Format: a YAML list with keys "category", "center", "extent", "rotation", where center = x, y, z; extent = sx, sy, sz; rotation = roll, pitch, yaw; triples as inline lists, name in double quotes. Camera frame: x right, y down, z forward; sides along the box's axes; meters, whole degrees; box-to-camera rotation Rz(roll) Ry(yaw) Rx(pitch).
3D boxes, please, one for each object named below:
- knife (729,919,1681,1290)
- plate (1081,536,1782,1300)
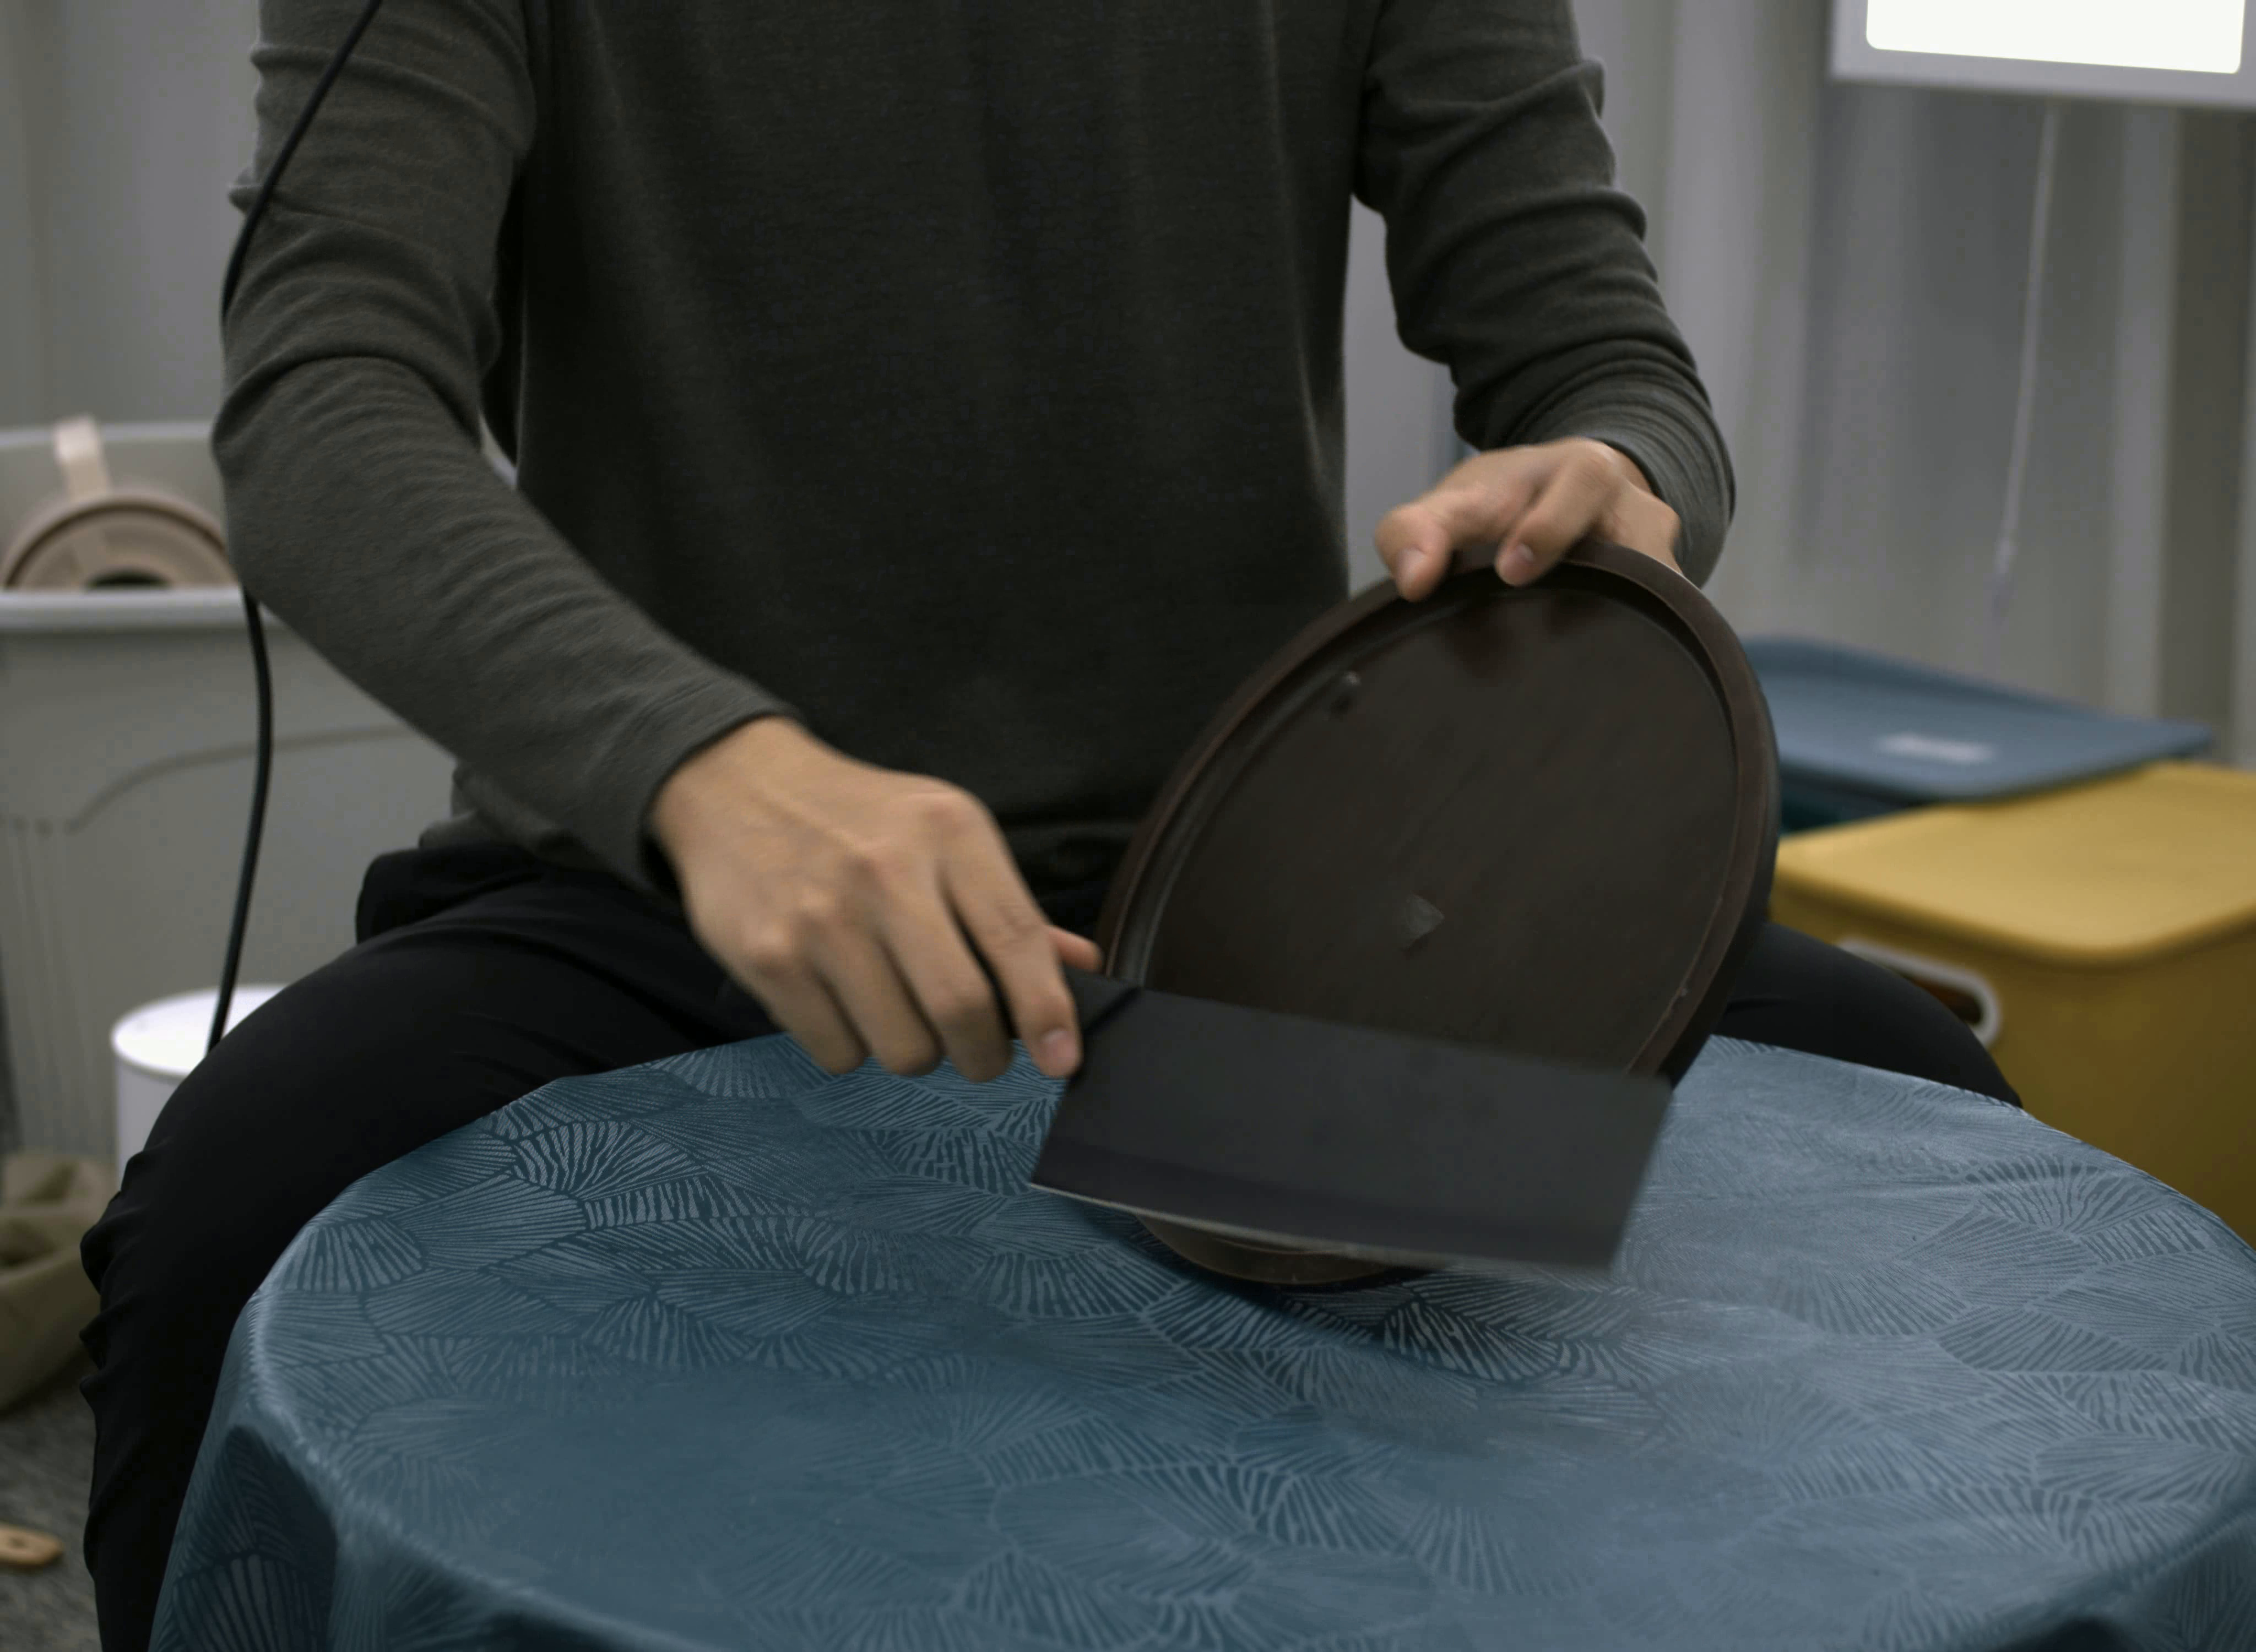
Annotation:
- category: "knife"
  center: [0.013, 0.074, 1.474]
  extent: [0.298, 0.081, 0.021]
  rotation: [15, -23, 31]
- category: "plate"
  center: [0.088, 0.026, 1.570]
  extent: [0.251, 0.255, 0.029]
  rotation: [19, -12, 48]
